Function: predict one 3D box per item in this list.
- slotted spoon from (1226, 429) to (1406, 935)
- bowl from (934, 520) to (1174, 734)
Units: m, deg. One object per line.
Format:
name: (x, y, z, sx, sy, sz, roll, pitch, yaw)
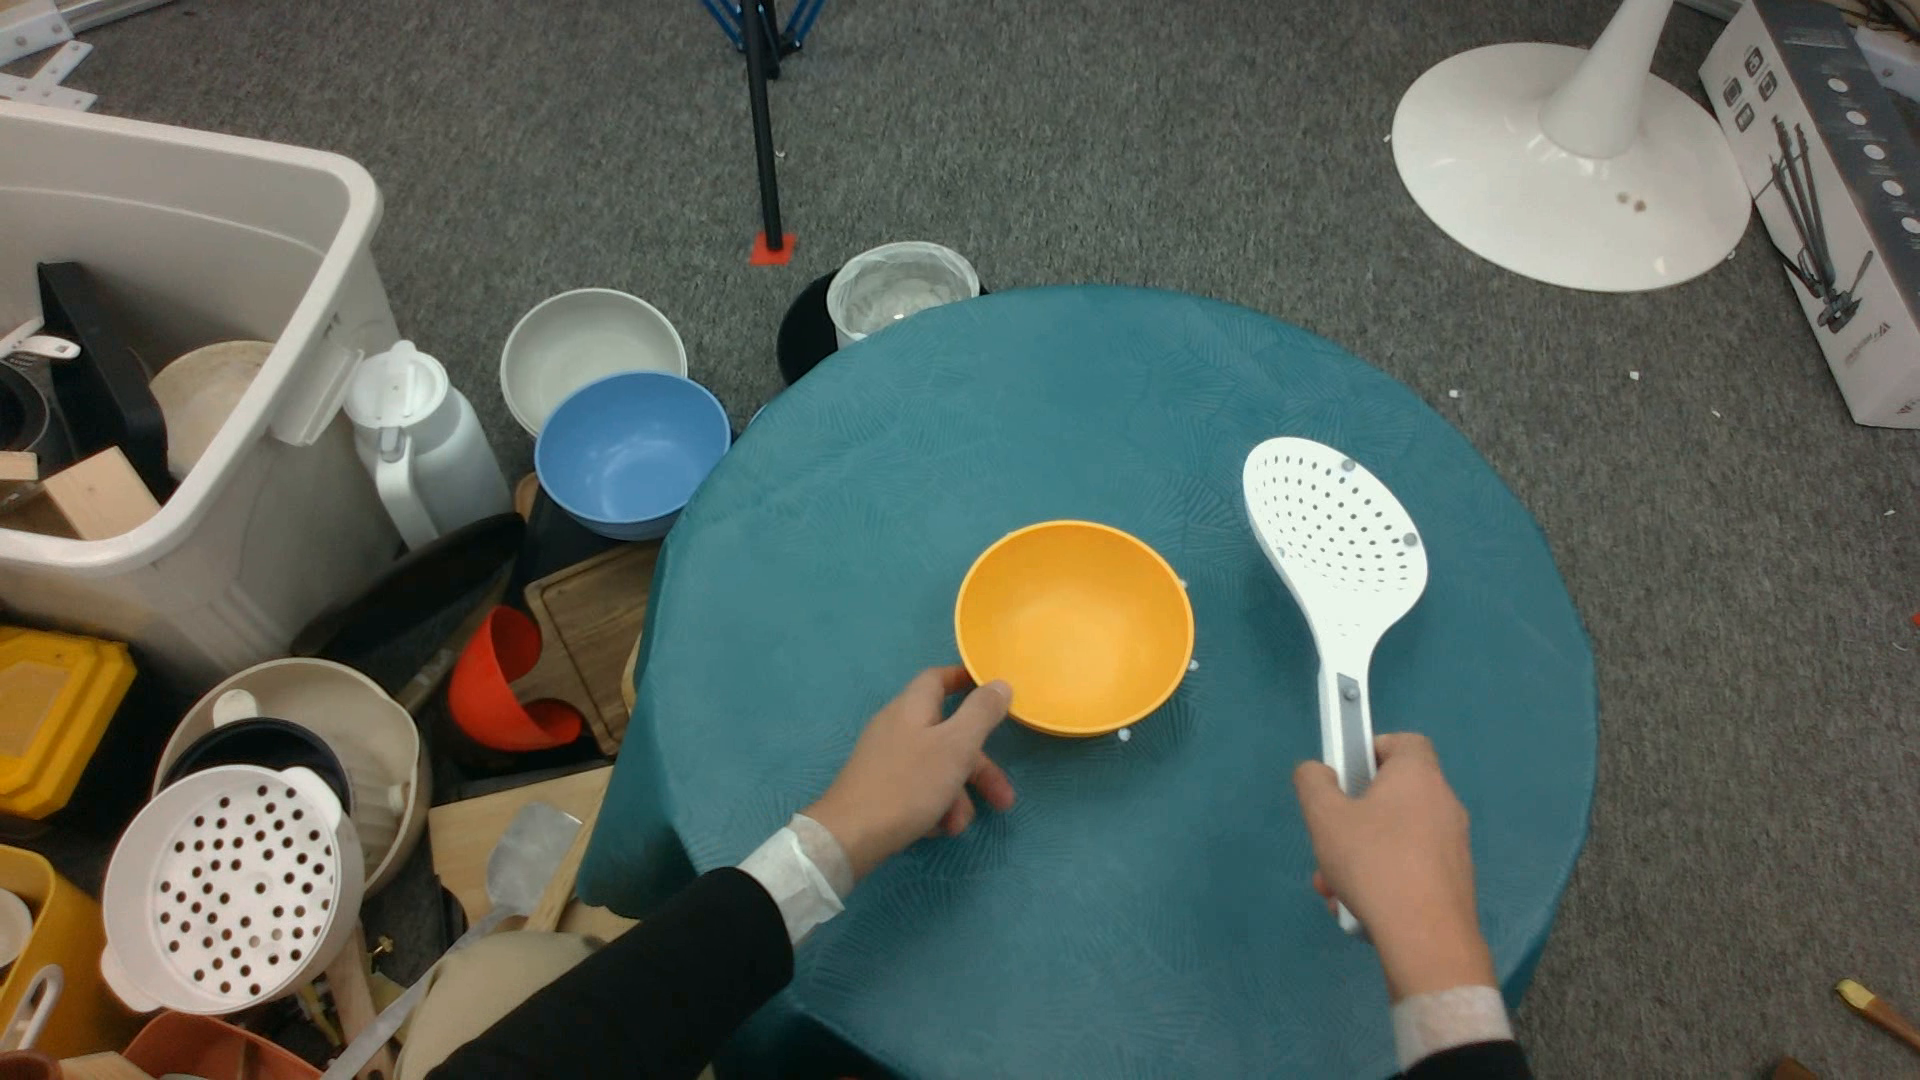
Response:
slotted spoon: (0.209, 0.065, 0.793, 0.136, 0.045, 0.351, 24, 40, -15)
bowl: (0.056, 0.063, 0.845, 0.145, 0.060, 0.146, 1, 56, -1)
